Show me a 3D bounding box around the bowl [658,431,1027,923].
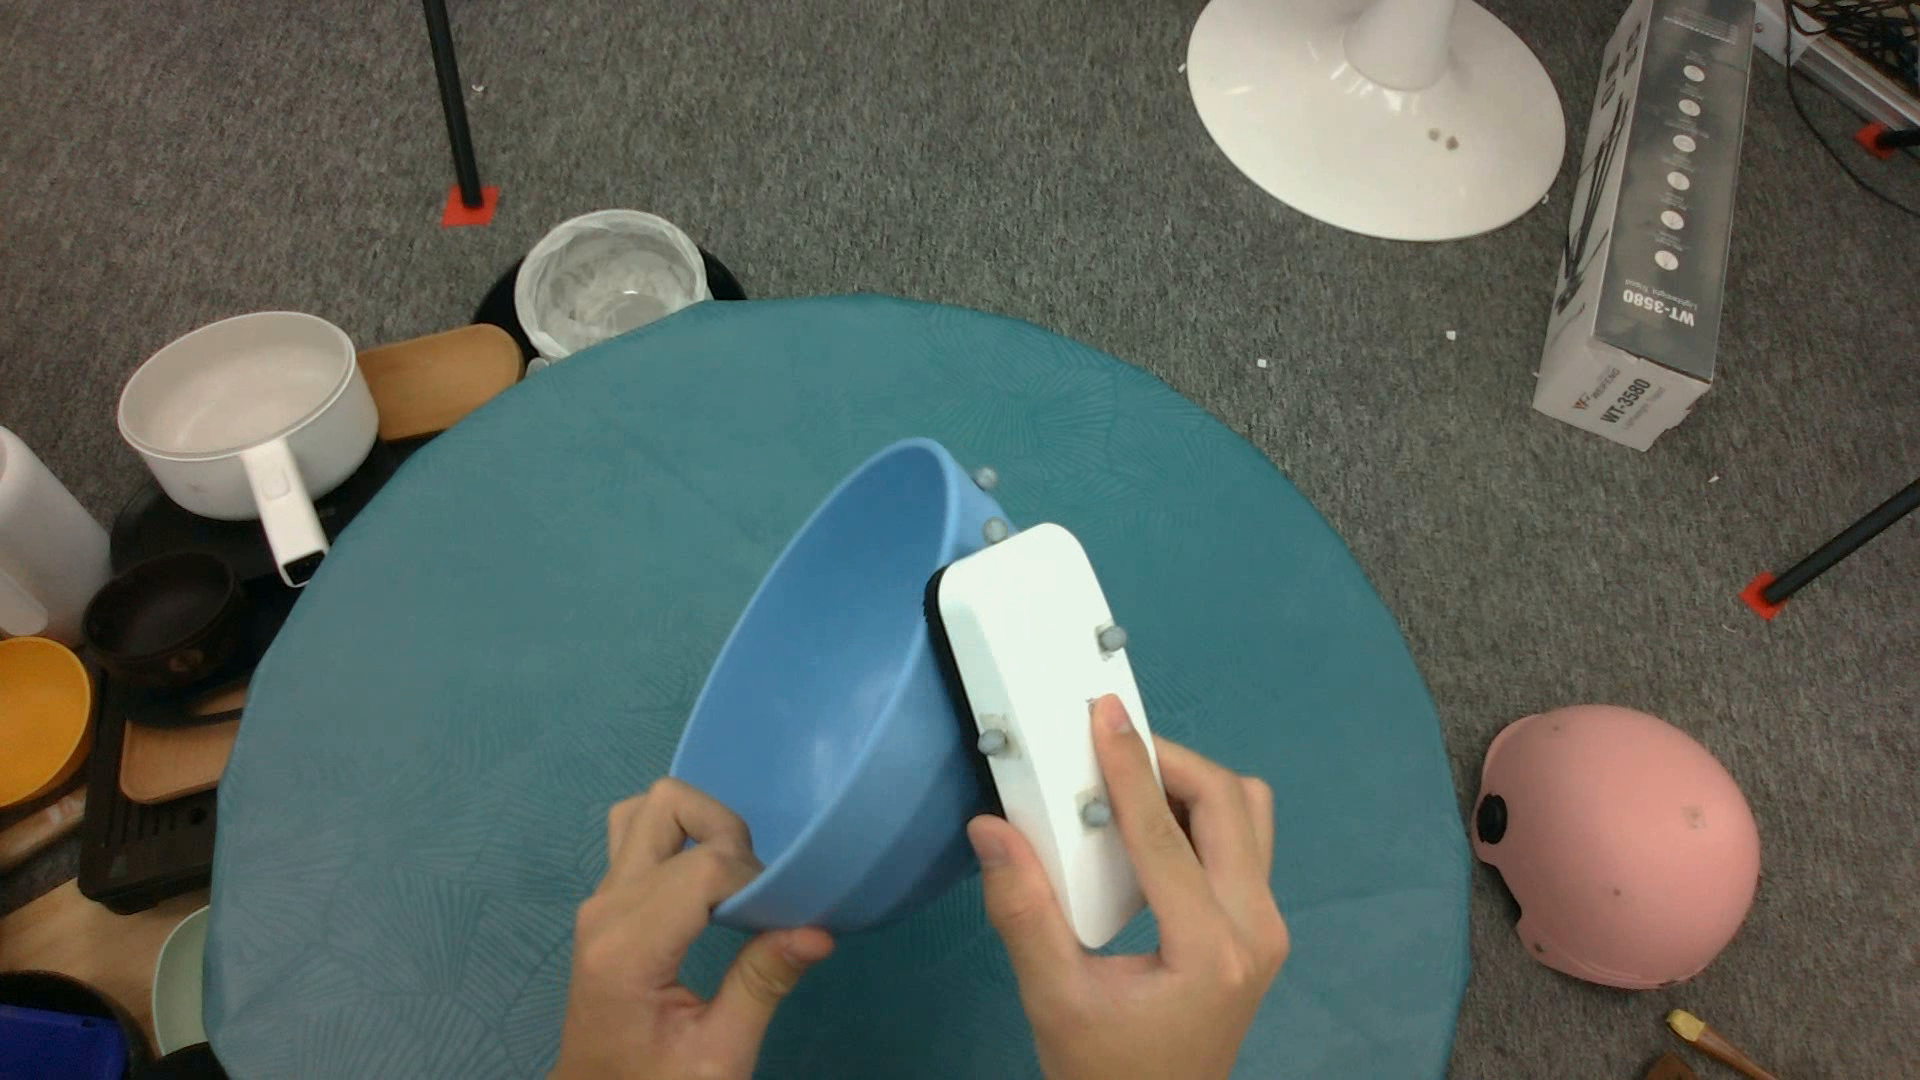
[{"bbox_3d":[-0.023,0.065,0.534,0.095,0.195,0.197,33,58,-23],"label":"bowl"}]

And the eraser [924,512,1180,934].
[{"bbox_3d":[0.032,0.059,0.446,0.063,0.034,0.131,-24,98,-47],"label":"eraser"}]
